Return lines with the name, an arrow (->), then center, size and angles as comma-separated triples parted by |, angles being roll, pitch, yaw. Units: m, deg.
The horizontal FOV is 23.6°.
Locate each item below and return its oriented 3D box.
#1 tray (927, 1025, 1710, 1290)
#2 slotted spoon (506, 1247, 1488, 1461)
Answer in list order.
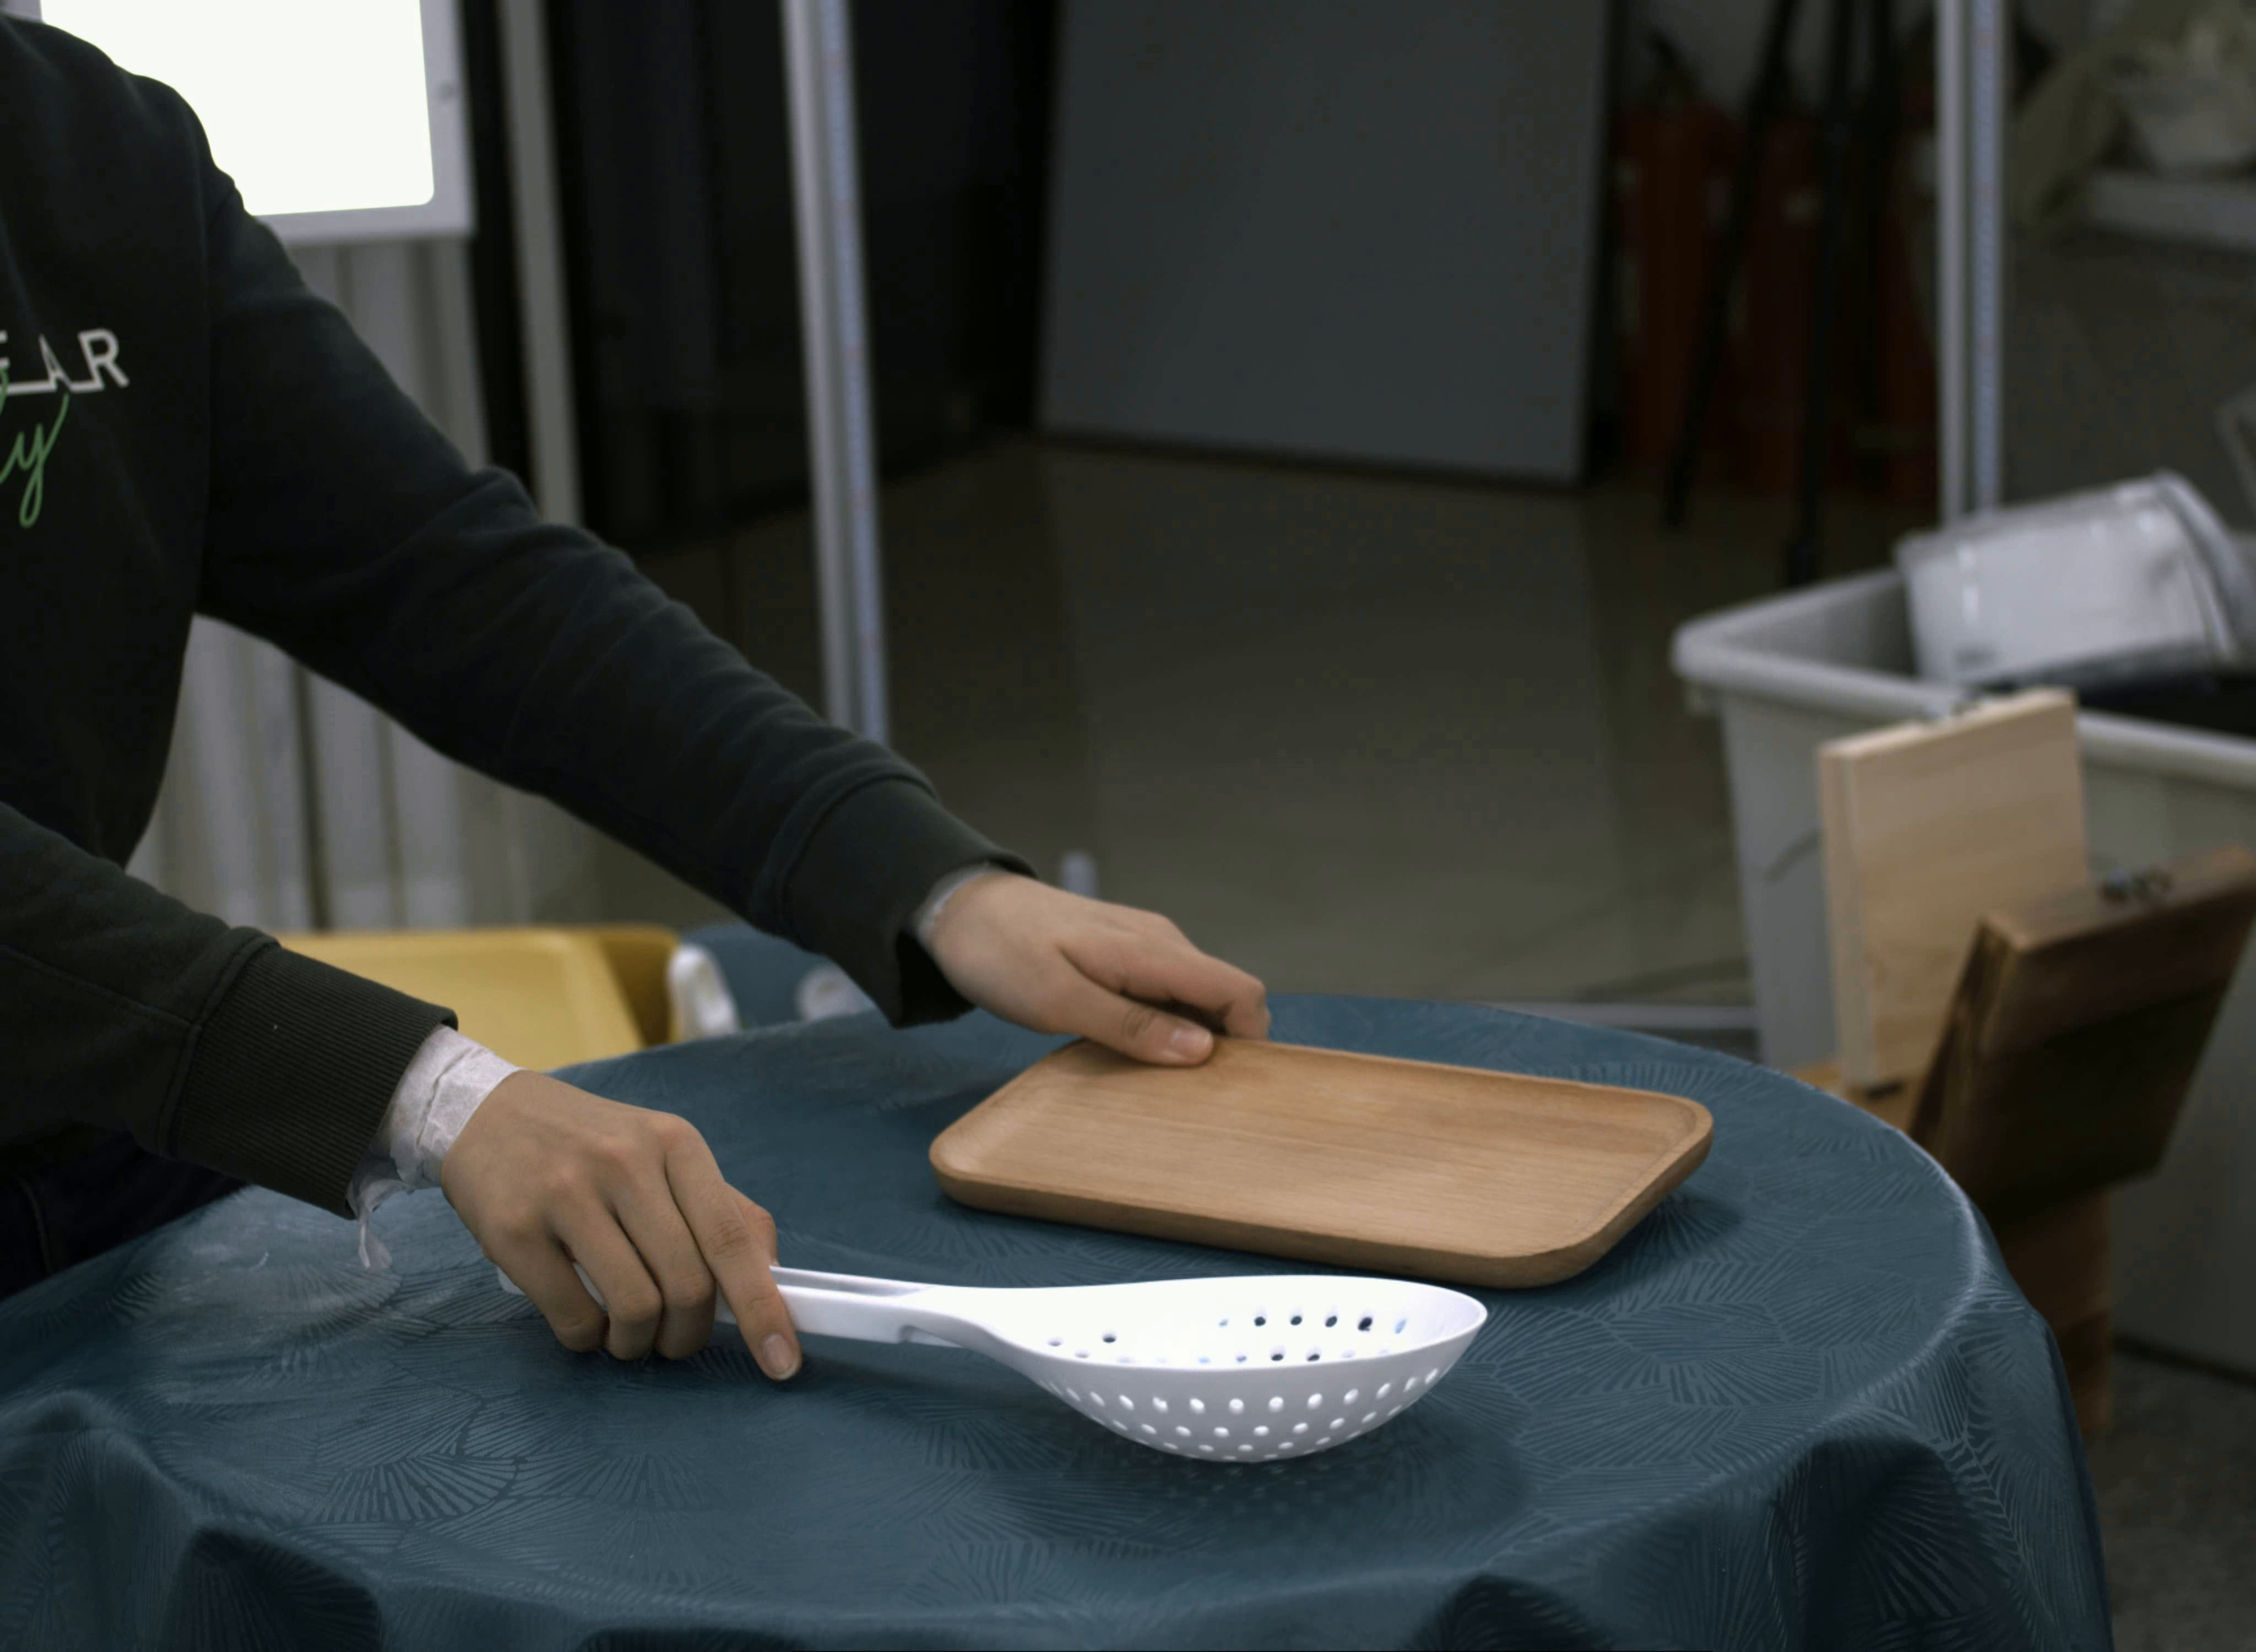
tray -> 0.061, 0.106, 1.748 | 0.252, 0.023, 0.128 | 5, 22, 35
slotted spoon -> -0.050, 0.144, 1.588 | 0.352, 0.046, 0.133 | 7, 9, 38
